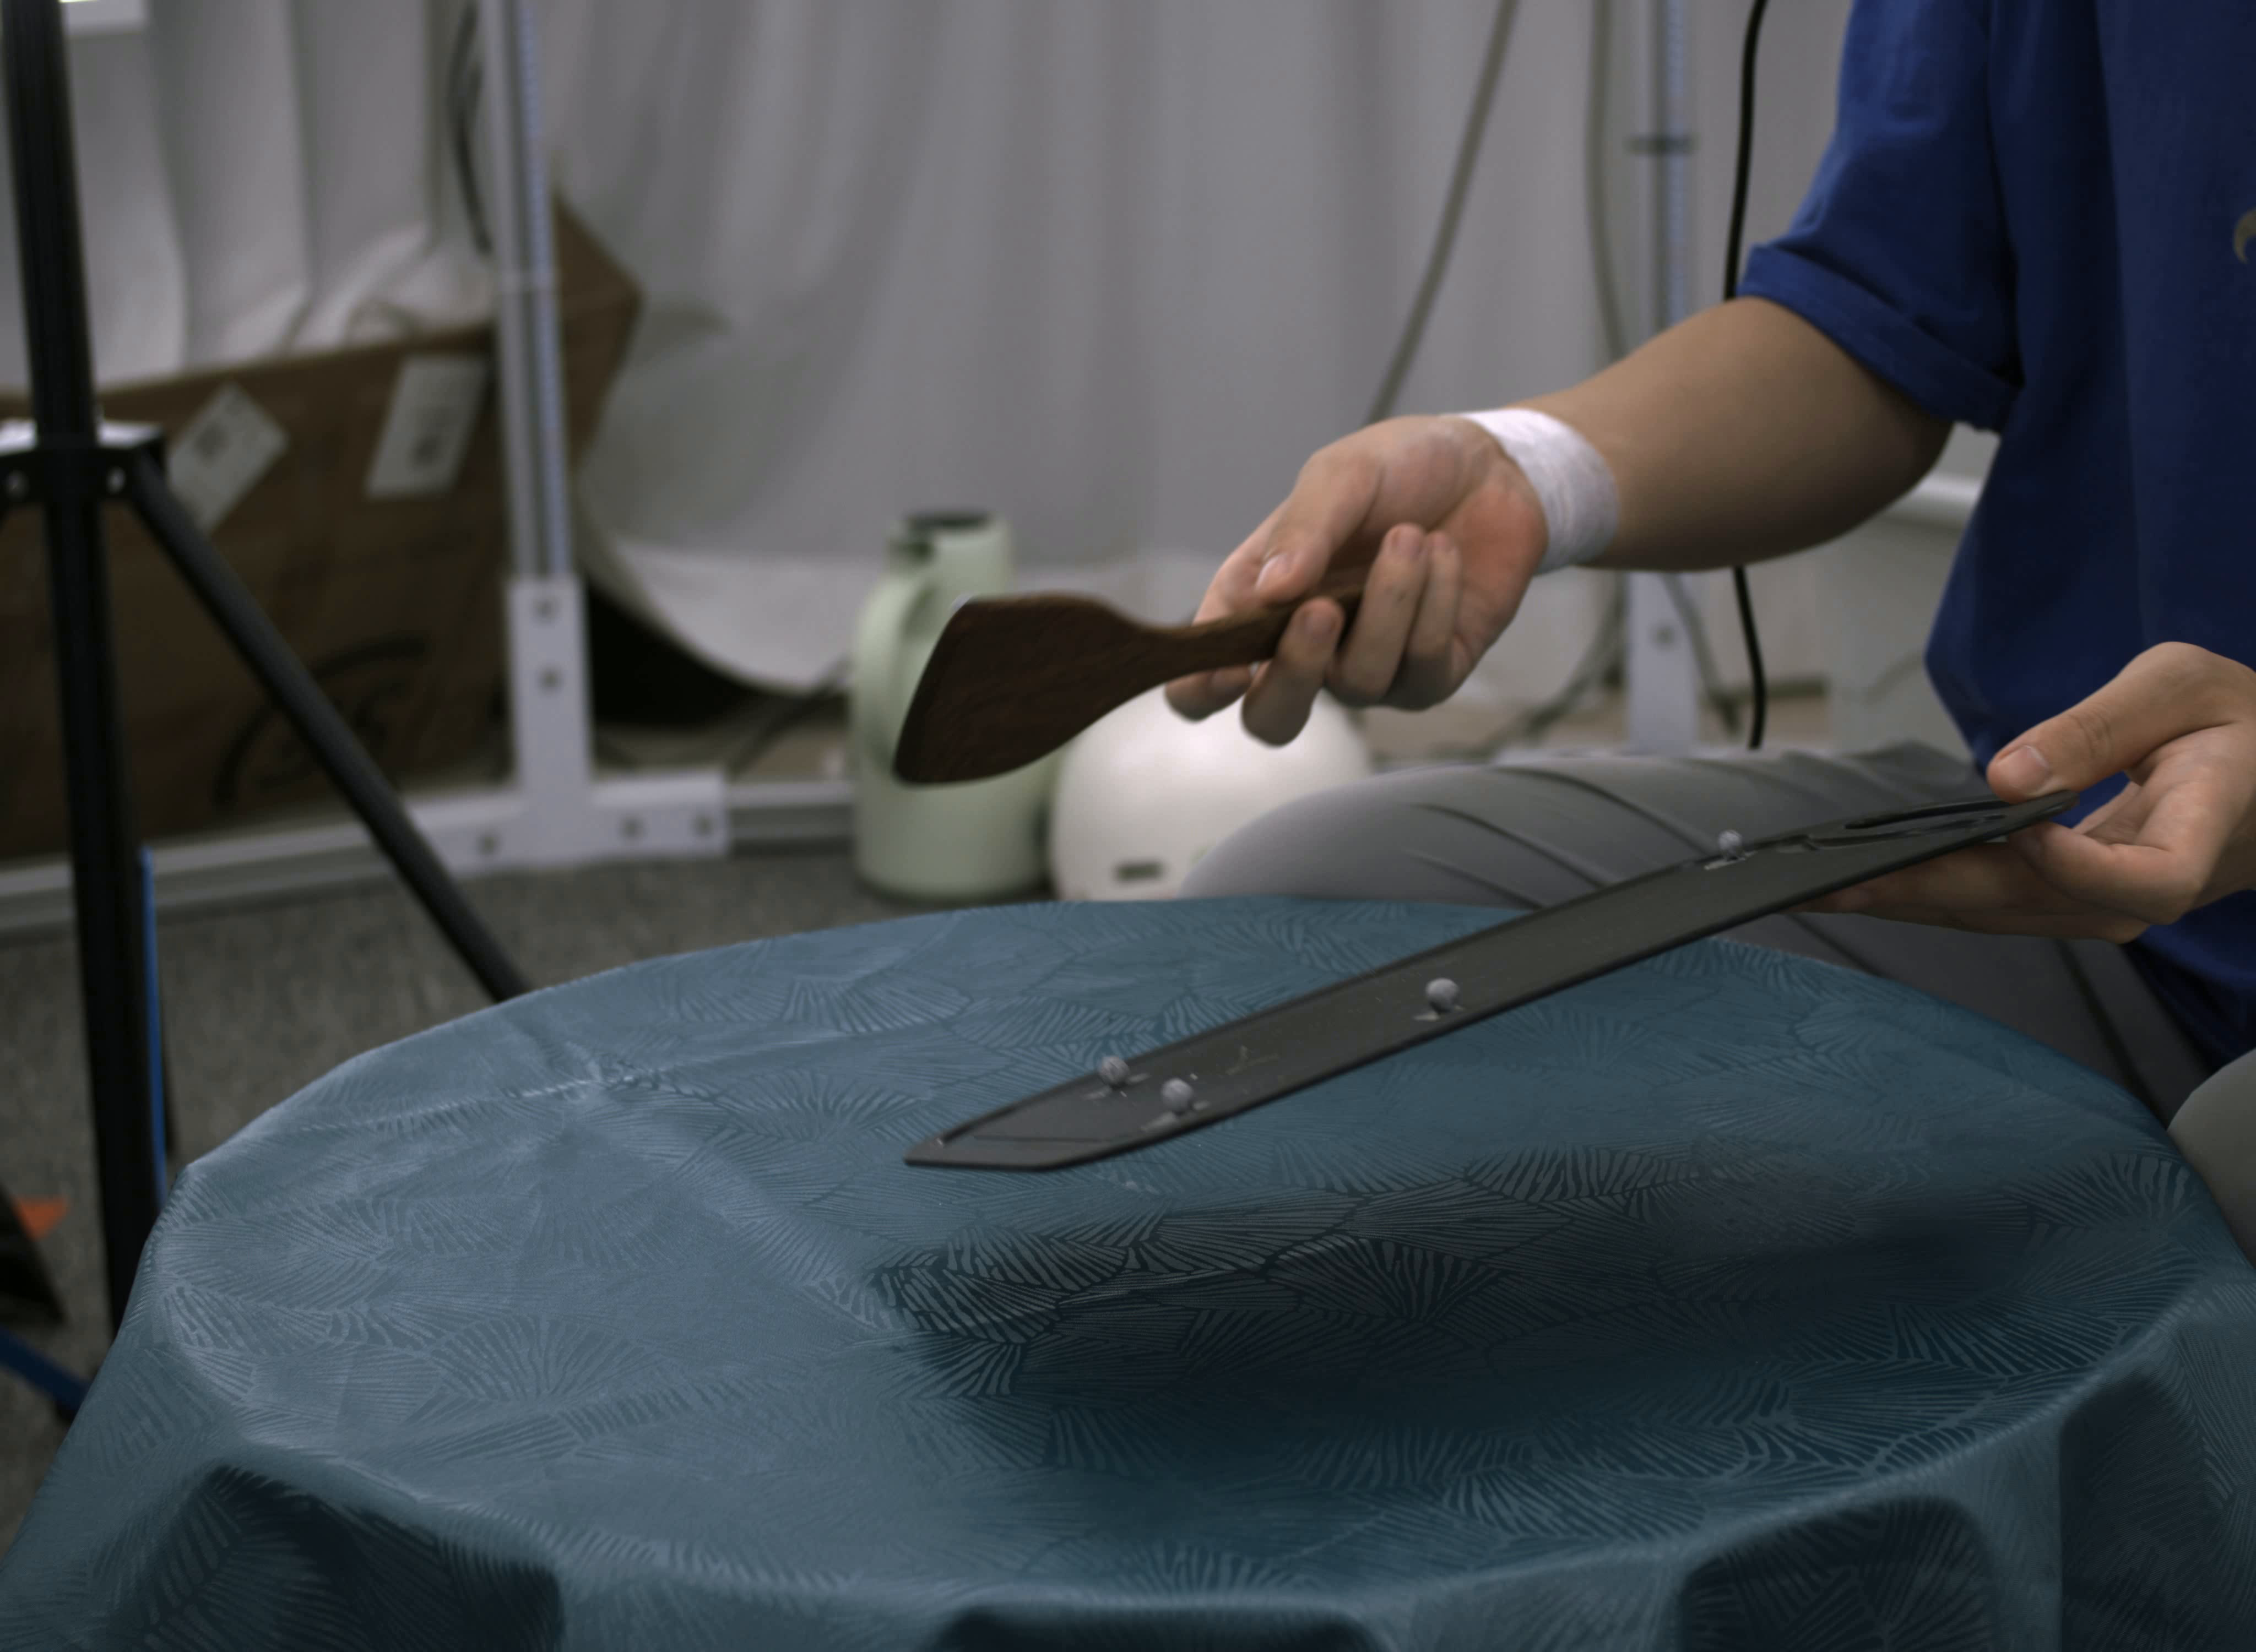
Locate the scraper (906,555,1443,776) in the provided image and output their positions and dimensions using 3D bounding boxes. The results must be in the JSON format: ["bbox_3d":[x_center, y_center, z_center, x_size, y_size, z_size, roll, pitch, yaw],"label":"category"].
[{"bbox_3d":[0.021,-0.059,1.662,0.206,0.076,0.011,-13,47,-38],"label":"scraper"}]

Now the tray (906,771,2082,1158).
[{"bbox_3d":[0.103,0.036,1.452,0.321,0.010,0.213,-19,3,-15],"label":"tray"}]
